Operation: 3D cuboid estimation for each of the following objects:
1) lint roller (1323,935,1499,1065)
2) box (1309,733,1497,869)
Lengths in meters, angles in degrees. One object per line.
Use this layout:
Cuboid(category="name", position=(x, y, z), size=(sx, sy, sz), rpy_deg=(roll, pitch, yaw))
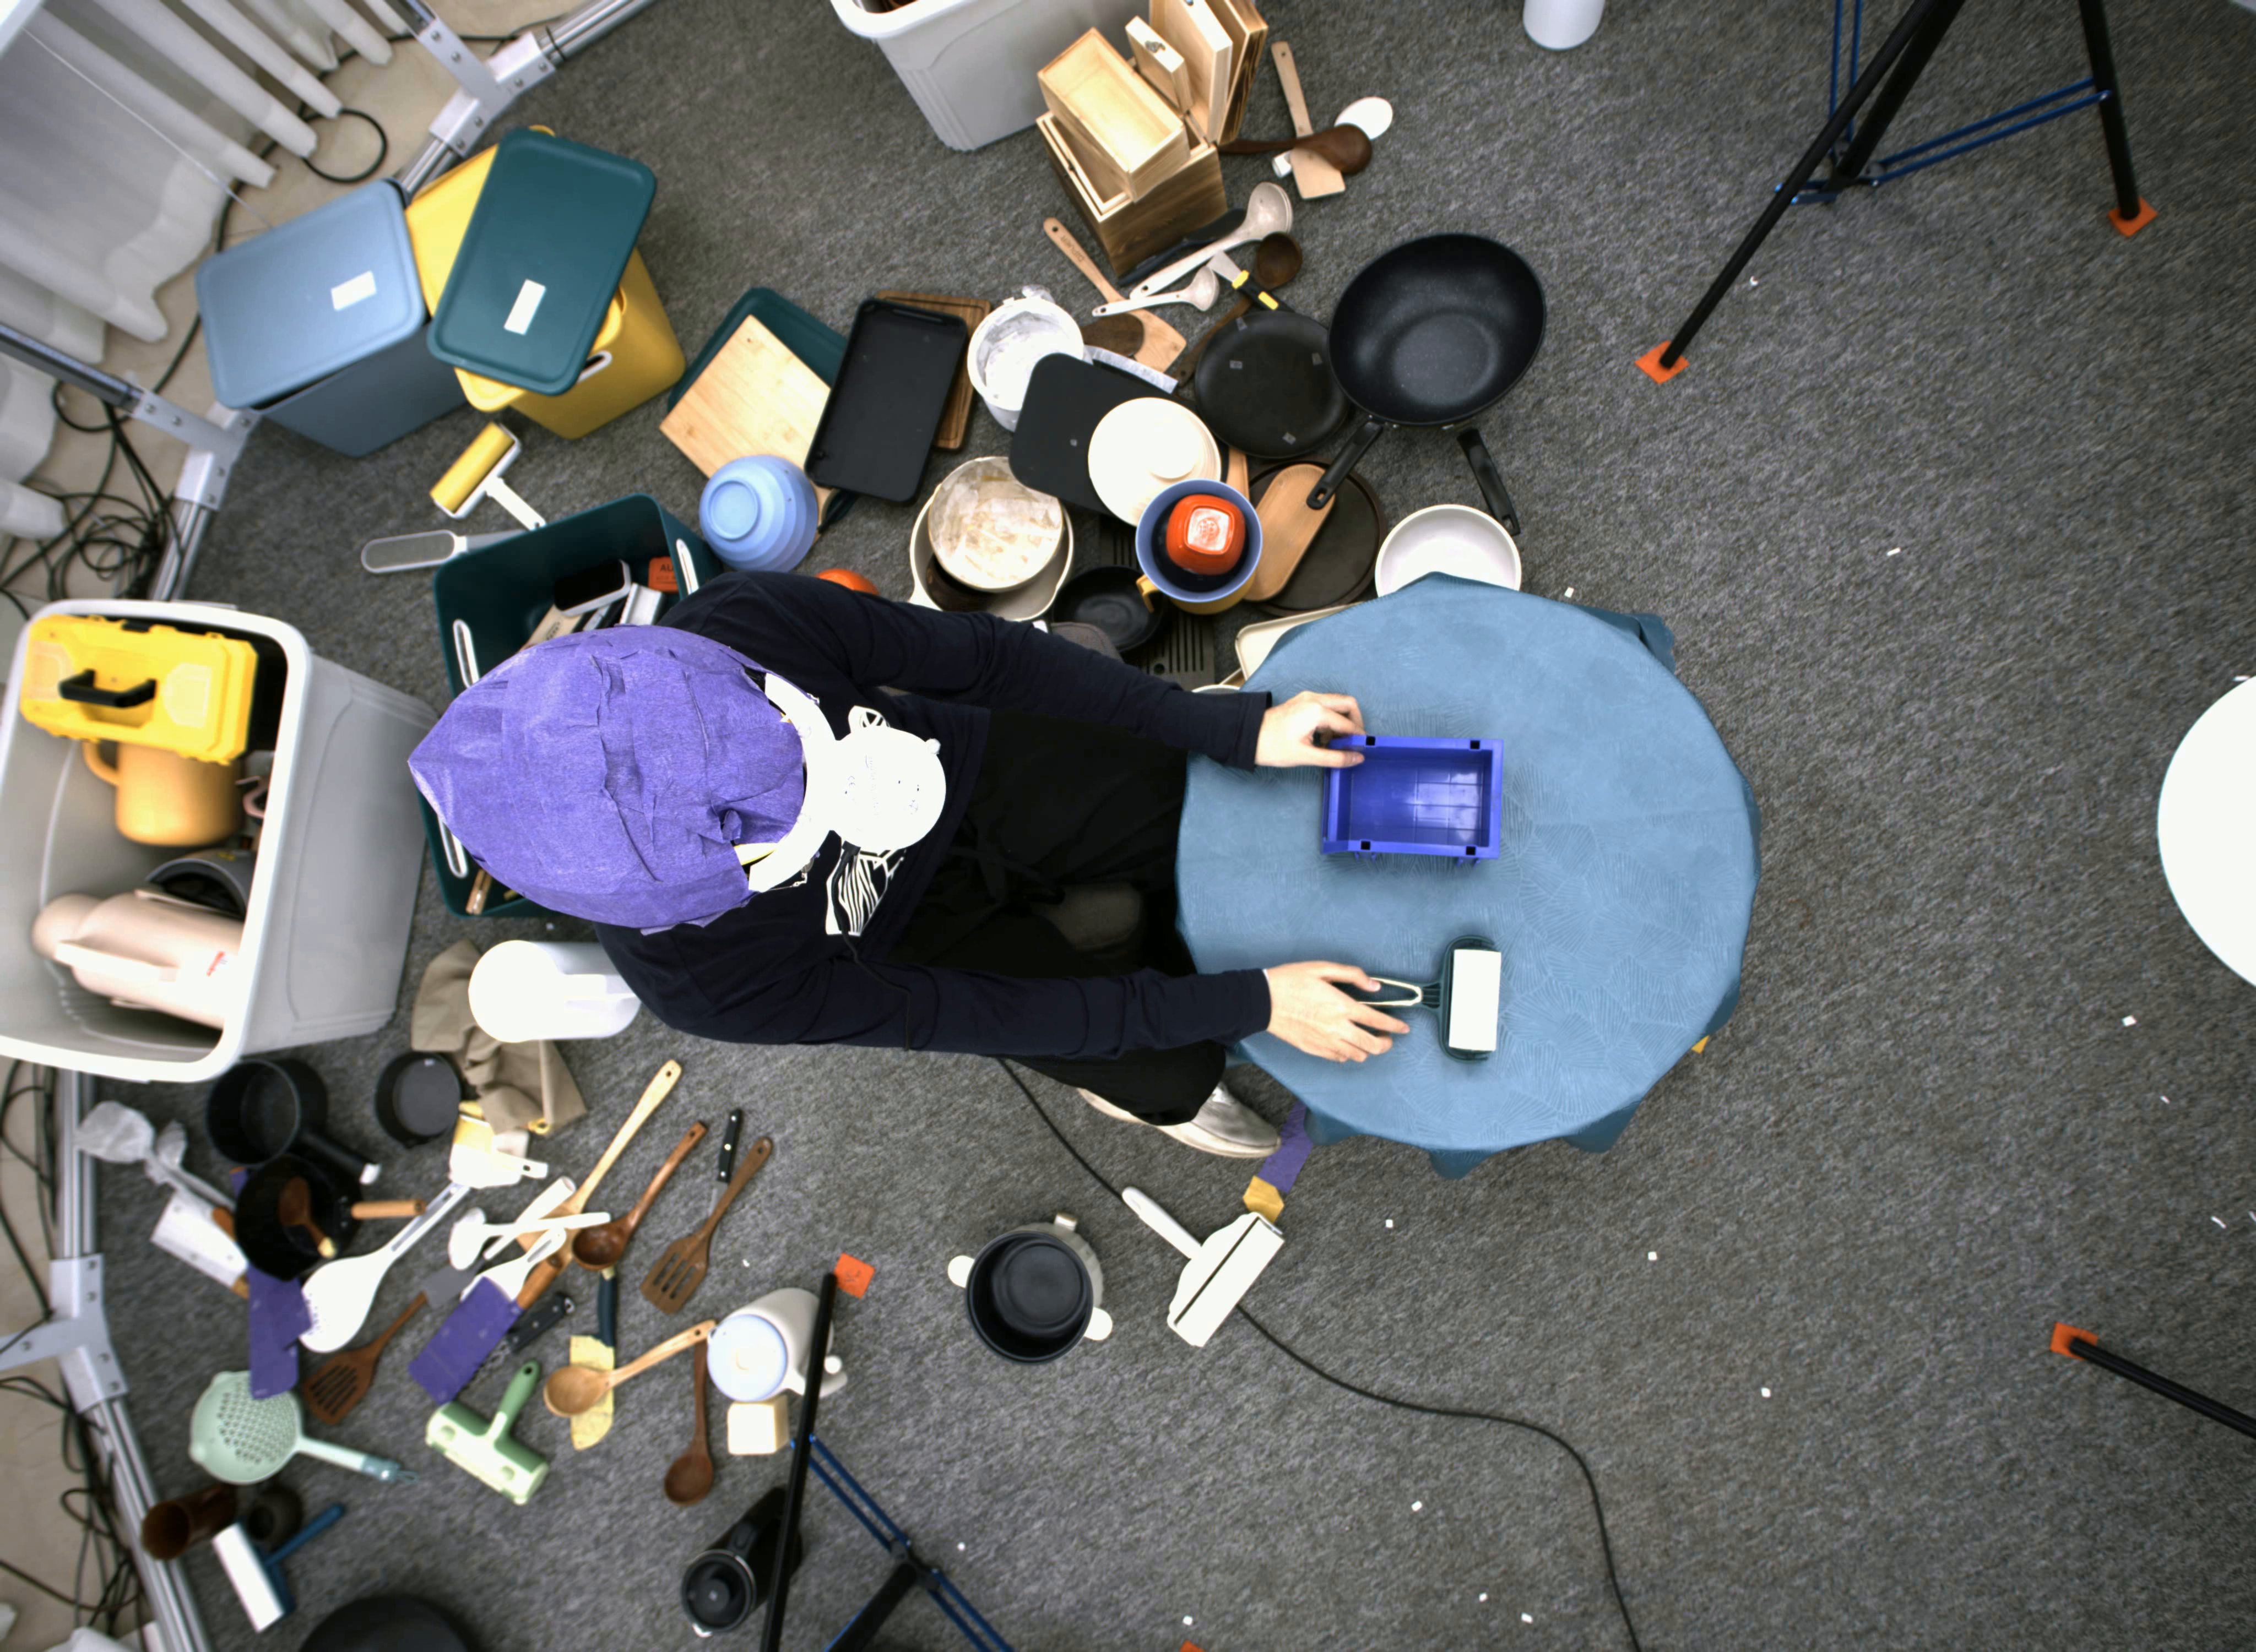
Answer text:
Cuboid(category="lint roller", position=(0.290, 0.174, 1.430), size=(0.181, 0.048, 0.134), rpy_deg=(2, 86, 14))
Cuboid(category="box", position=(0.281, -0.027, 1.422), size=(0.180, 0.082, 0.124), rpy_deg=(4, 88, 8))
